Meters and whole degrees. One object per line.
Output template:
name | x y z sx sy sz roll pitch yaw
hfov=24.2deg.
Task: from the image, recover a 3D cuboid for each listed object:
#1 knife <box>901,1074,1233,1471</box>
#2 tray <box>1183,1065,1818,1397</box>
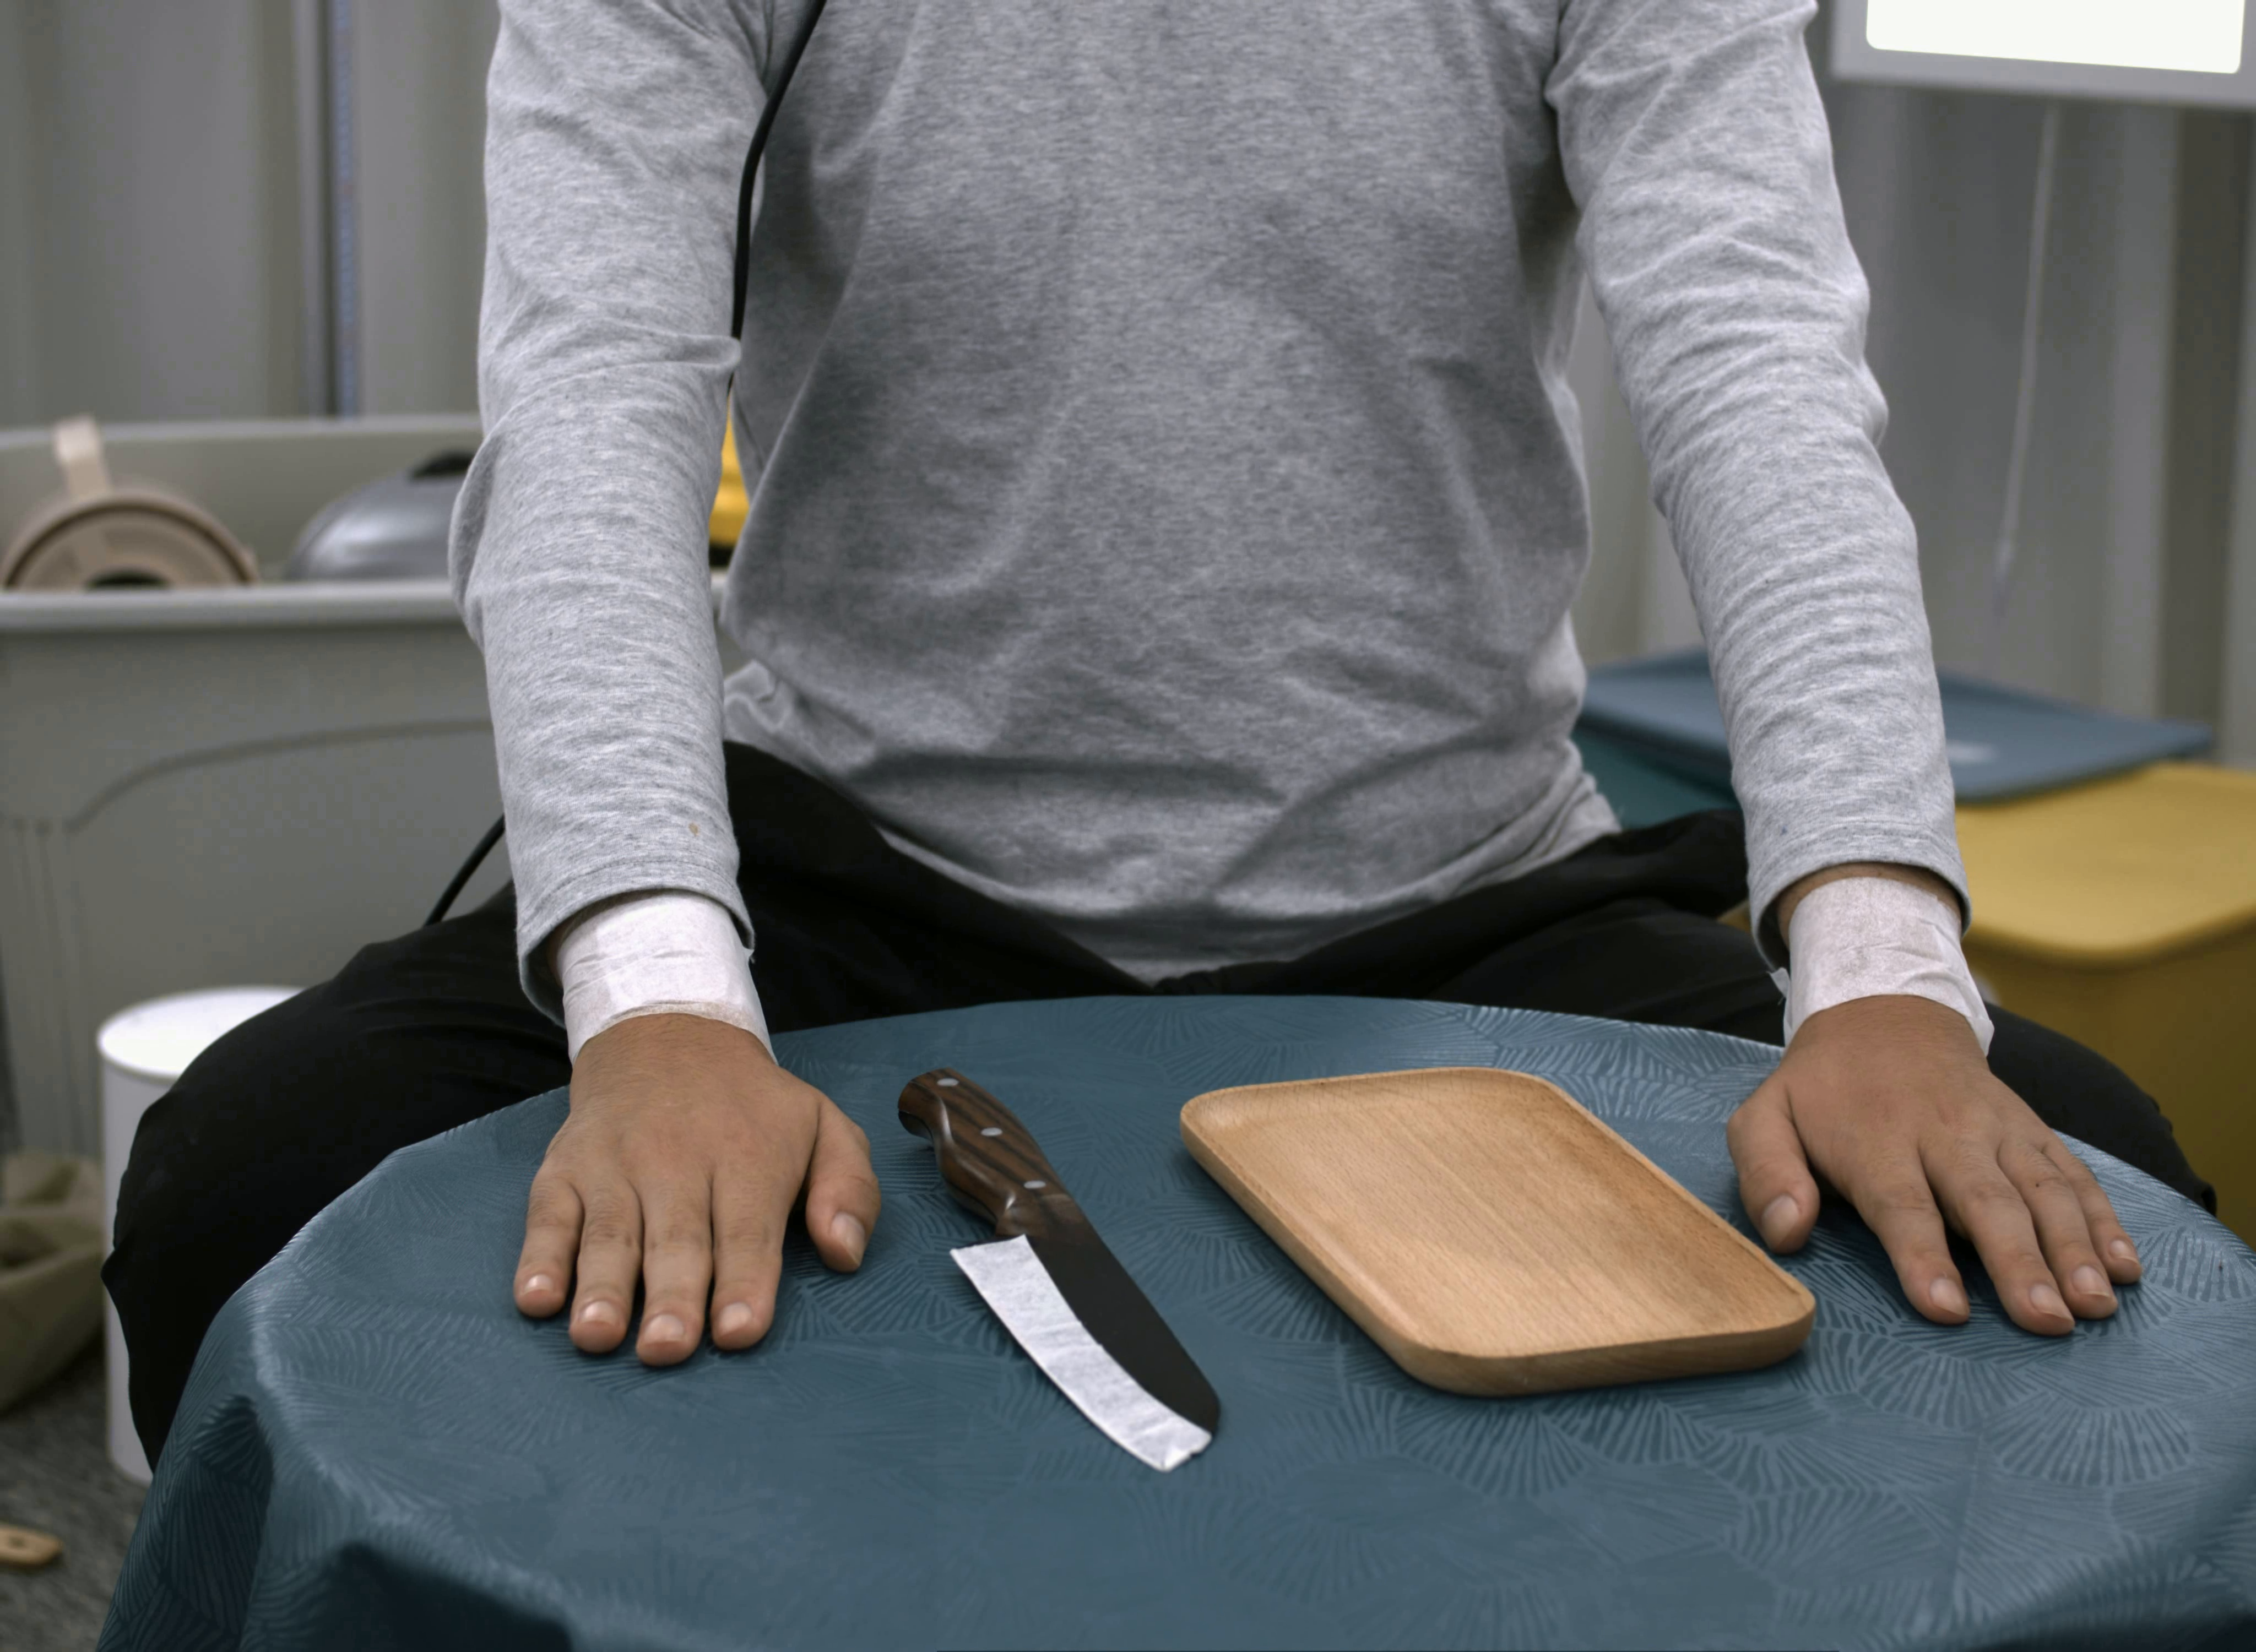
knife | -0.023 0.129 1.537 0.050 0.020 0.286 -8 19 -13
tray | 0.107 0.118 1.579 0.131 0.023 0.248 -2 15 -16
